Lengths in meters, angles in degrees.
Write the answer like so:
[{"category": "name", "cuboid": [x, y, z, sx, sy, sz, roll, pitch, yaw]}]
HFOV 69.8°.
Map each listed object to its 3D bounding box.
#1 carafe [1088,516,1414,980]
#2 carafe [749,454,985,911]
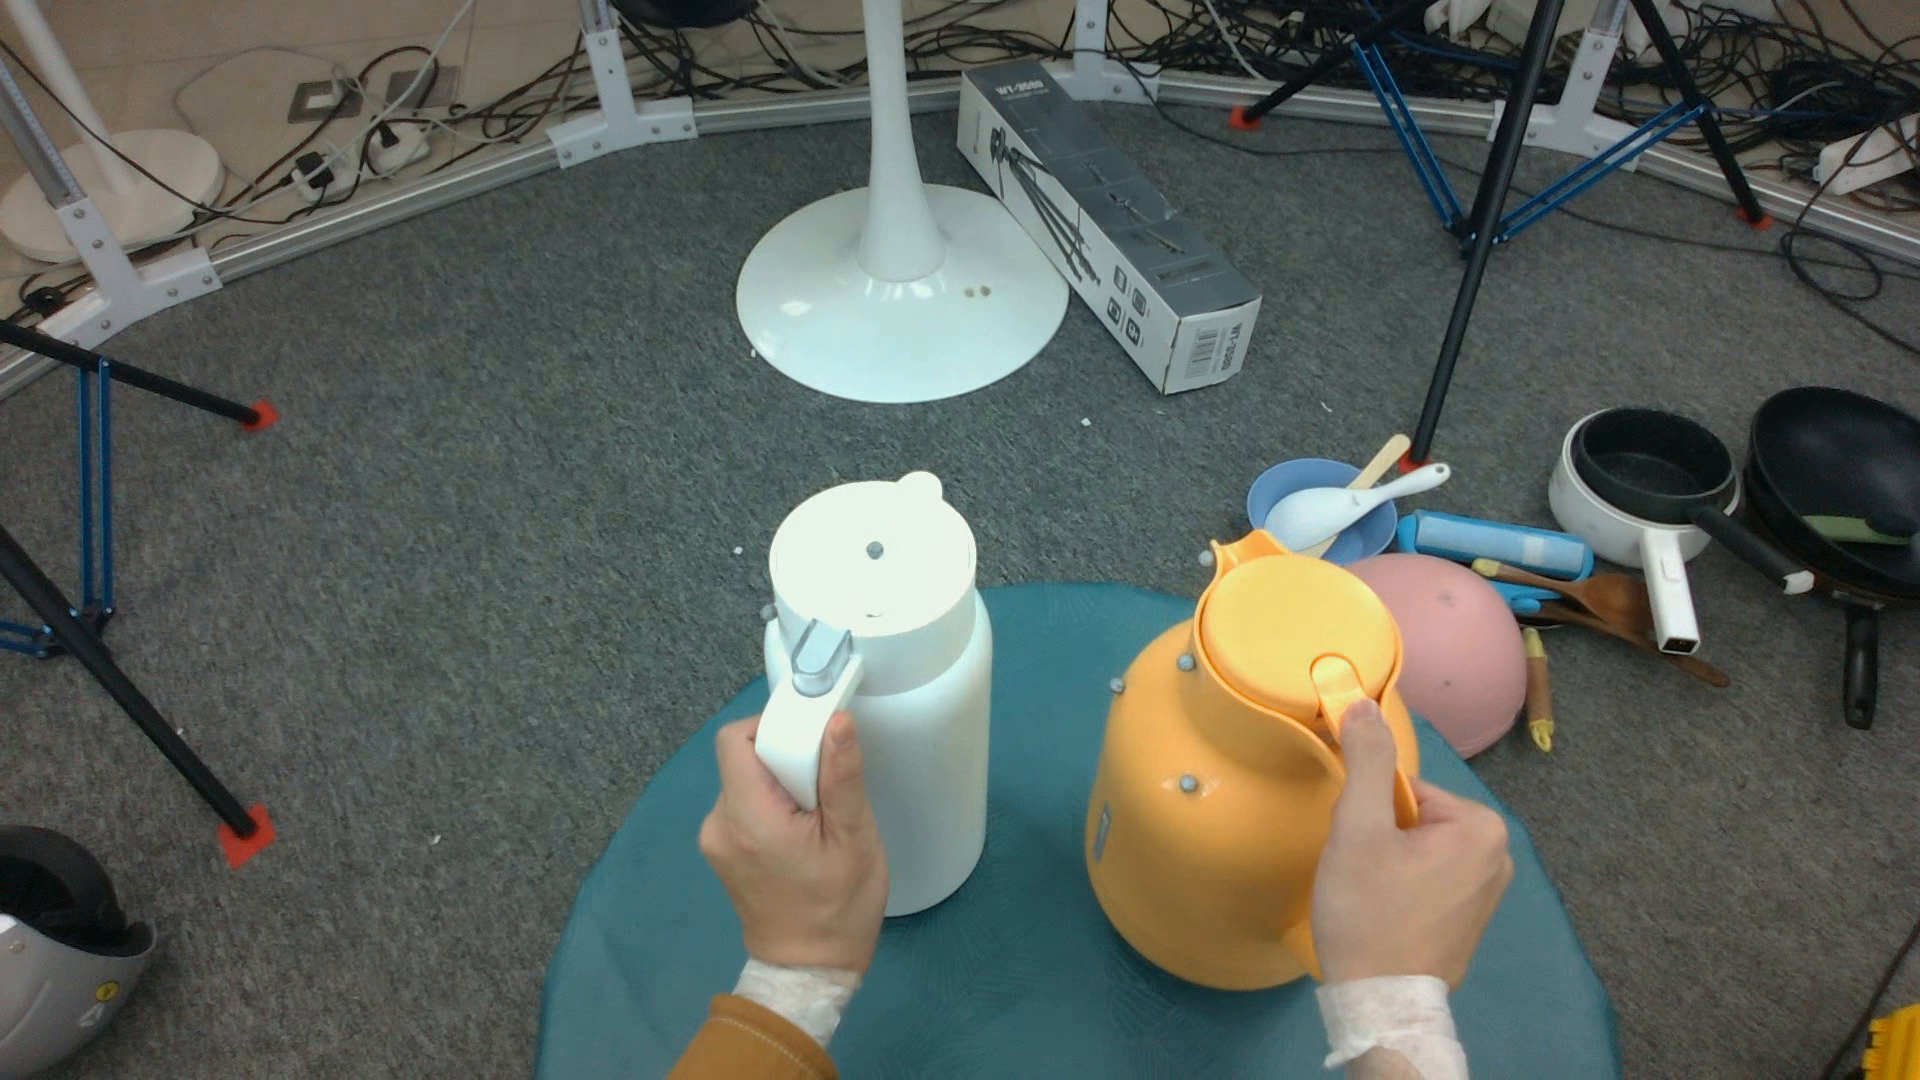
[{"category": "carafe", "cuboid": [0.158, 0.128, 0.719, 0.163, 0.259, 0.203, -12, 49, -8]}, {"category": "carafe", "cuboid": [-0.051, 0.102, 0.737, 0.124, 0.267, 0.174, 17, 50, 11]}]
